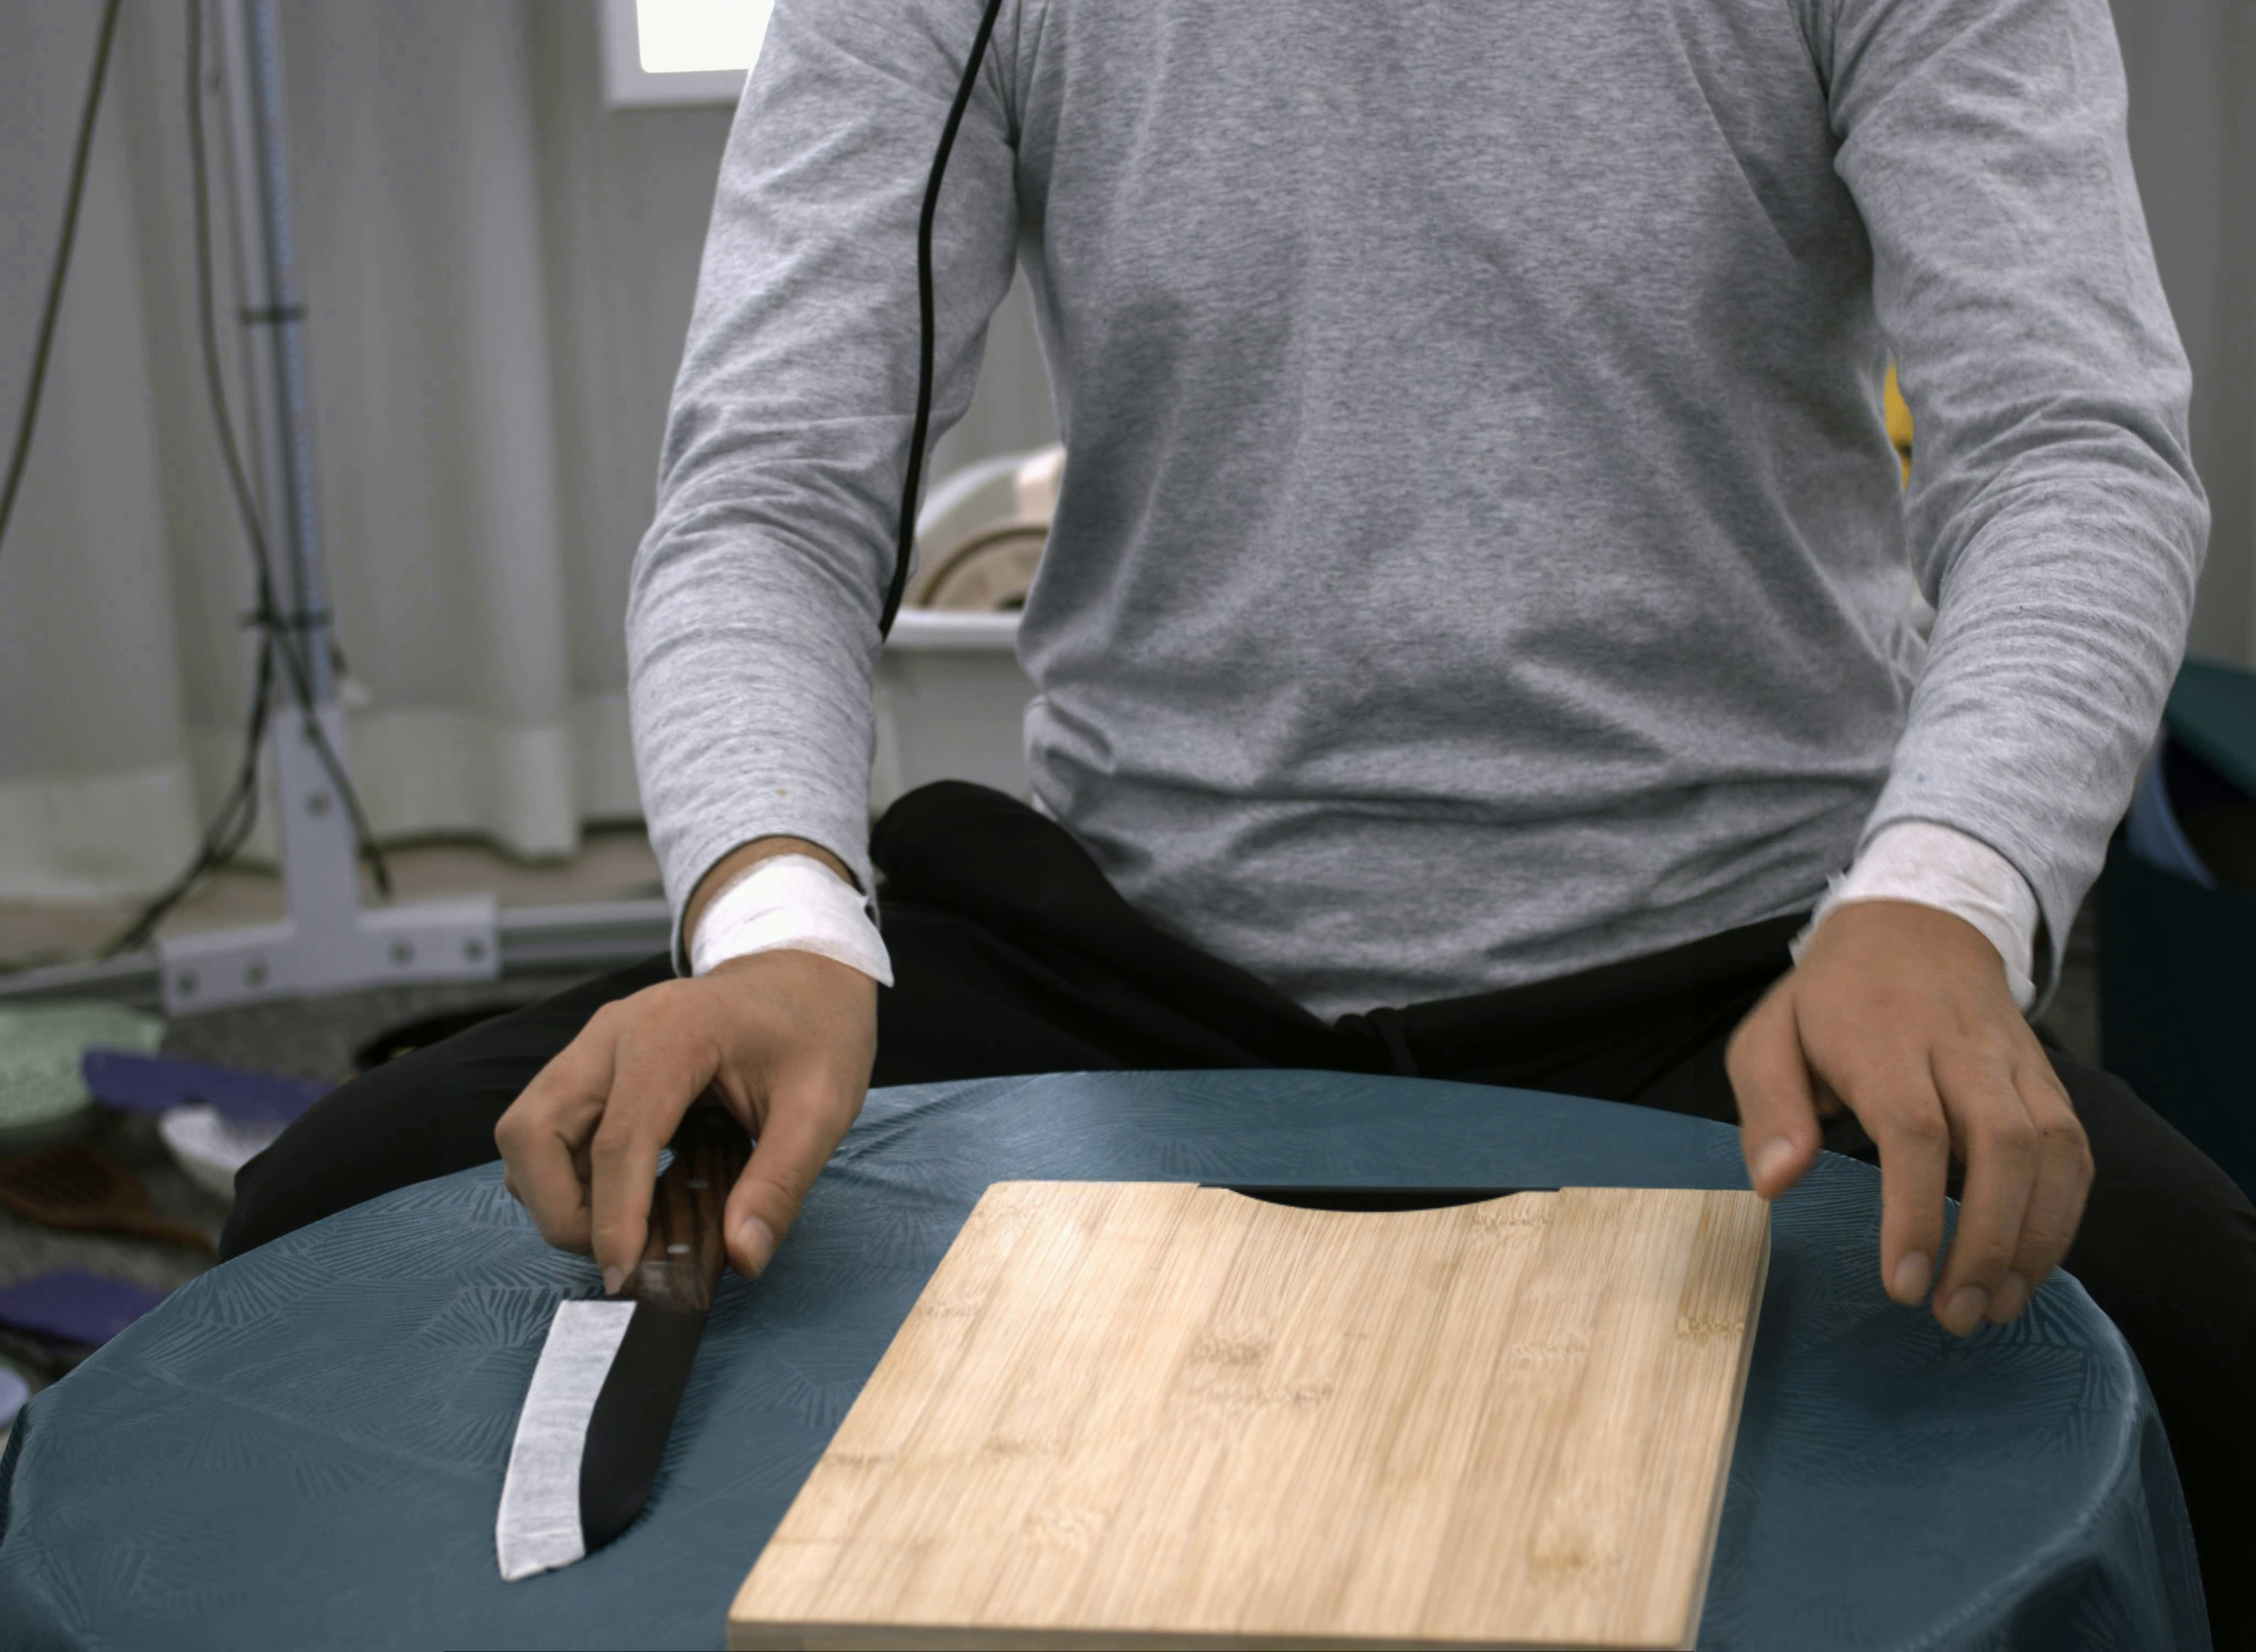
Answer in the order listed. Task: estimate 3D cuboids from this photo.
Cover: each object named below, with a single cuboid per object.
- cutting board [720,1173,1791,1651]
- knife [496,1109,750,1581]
[{"bbox_3d":[0.048,0.161,1.503,0.250,0.023,0.350,0,15,10],"label":"cutting board"},{"bbox_3d":[-0.143,0.147,1.565,0.050,0.020,0.291,1,21,6],"label":"knife"}]
